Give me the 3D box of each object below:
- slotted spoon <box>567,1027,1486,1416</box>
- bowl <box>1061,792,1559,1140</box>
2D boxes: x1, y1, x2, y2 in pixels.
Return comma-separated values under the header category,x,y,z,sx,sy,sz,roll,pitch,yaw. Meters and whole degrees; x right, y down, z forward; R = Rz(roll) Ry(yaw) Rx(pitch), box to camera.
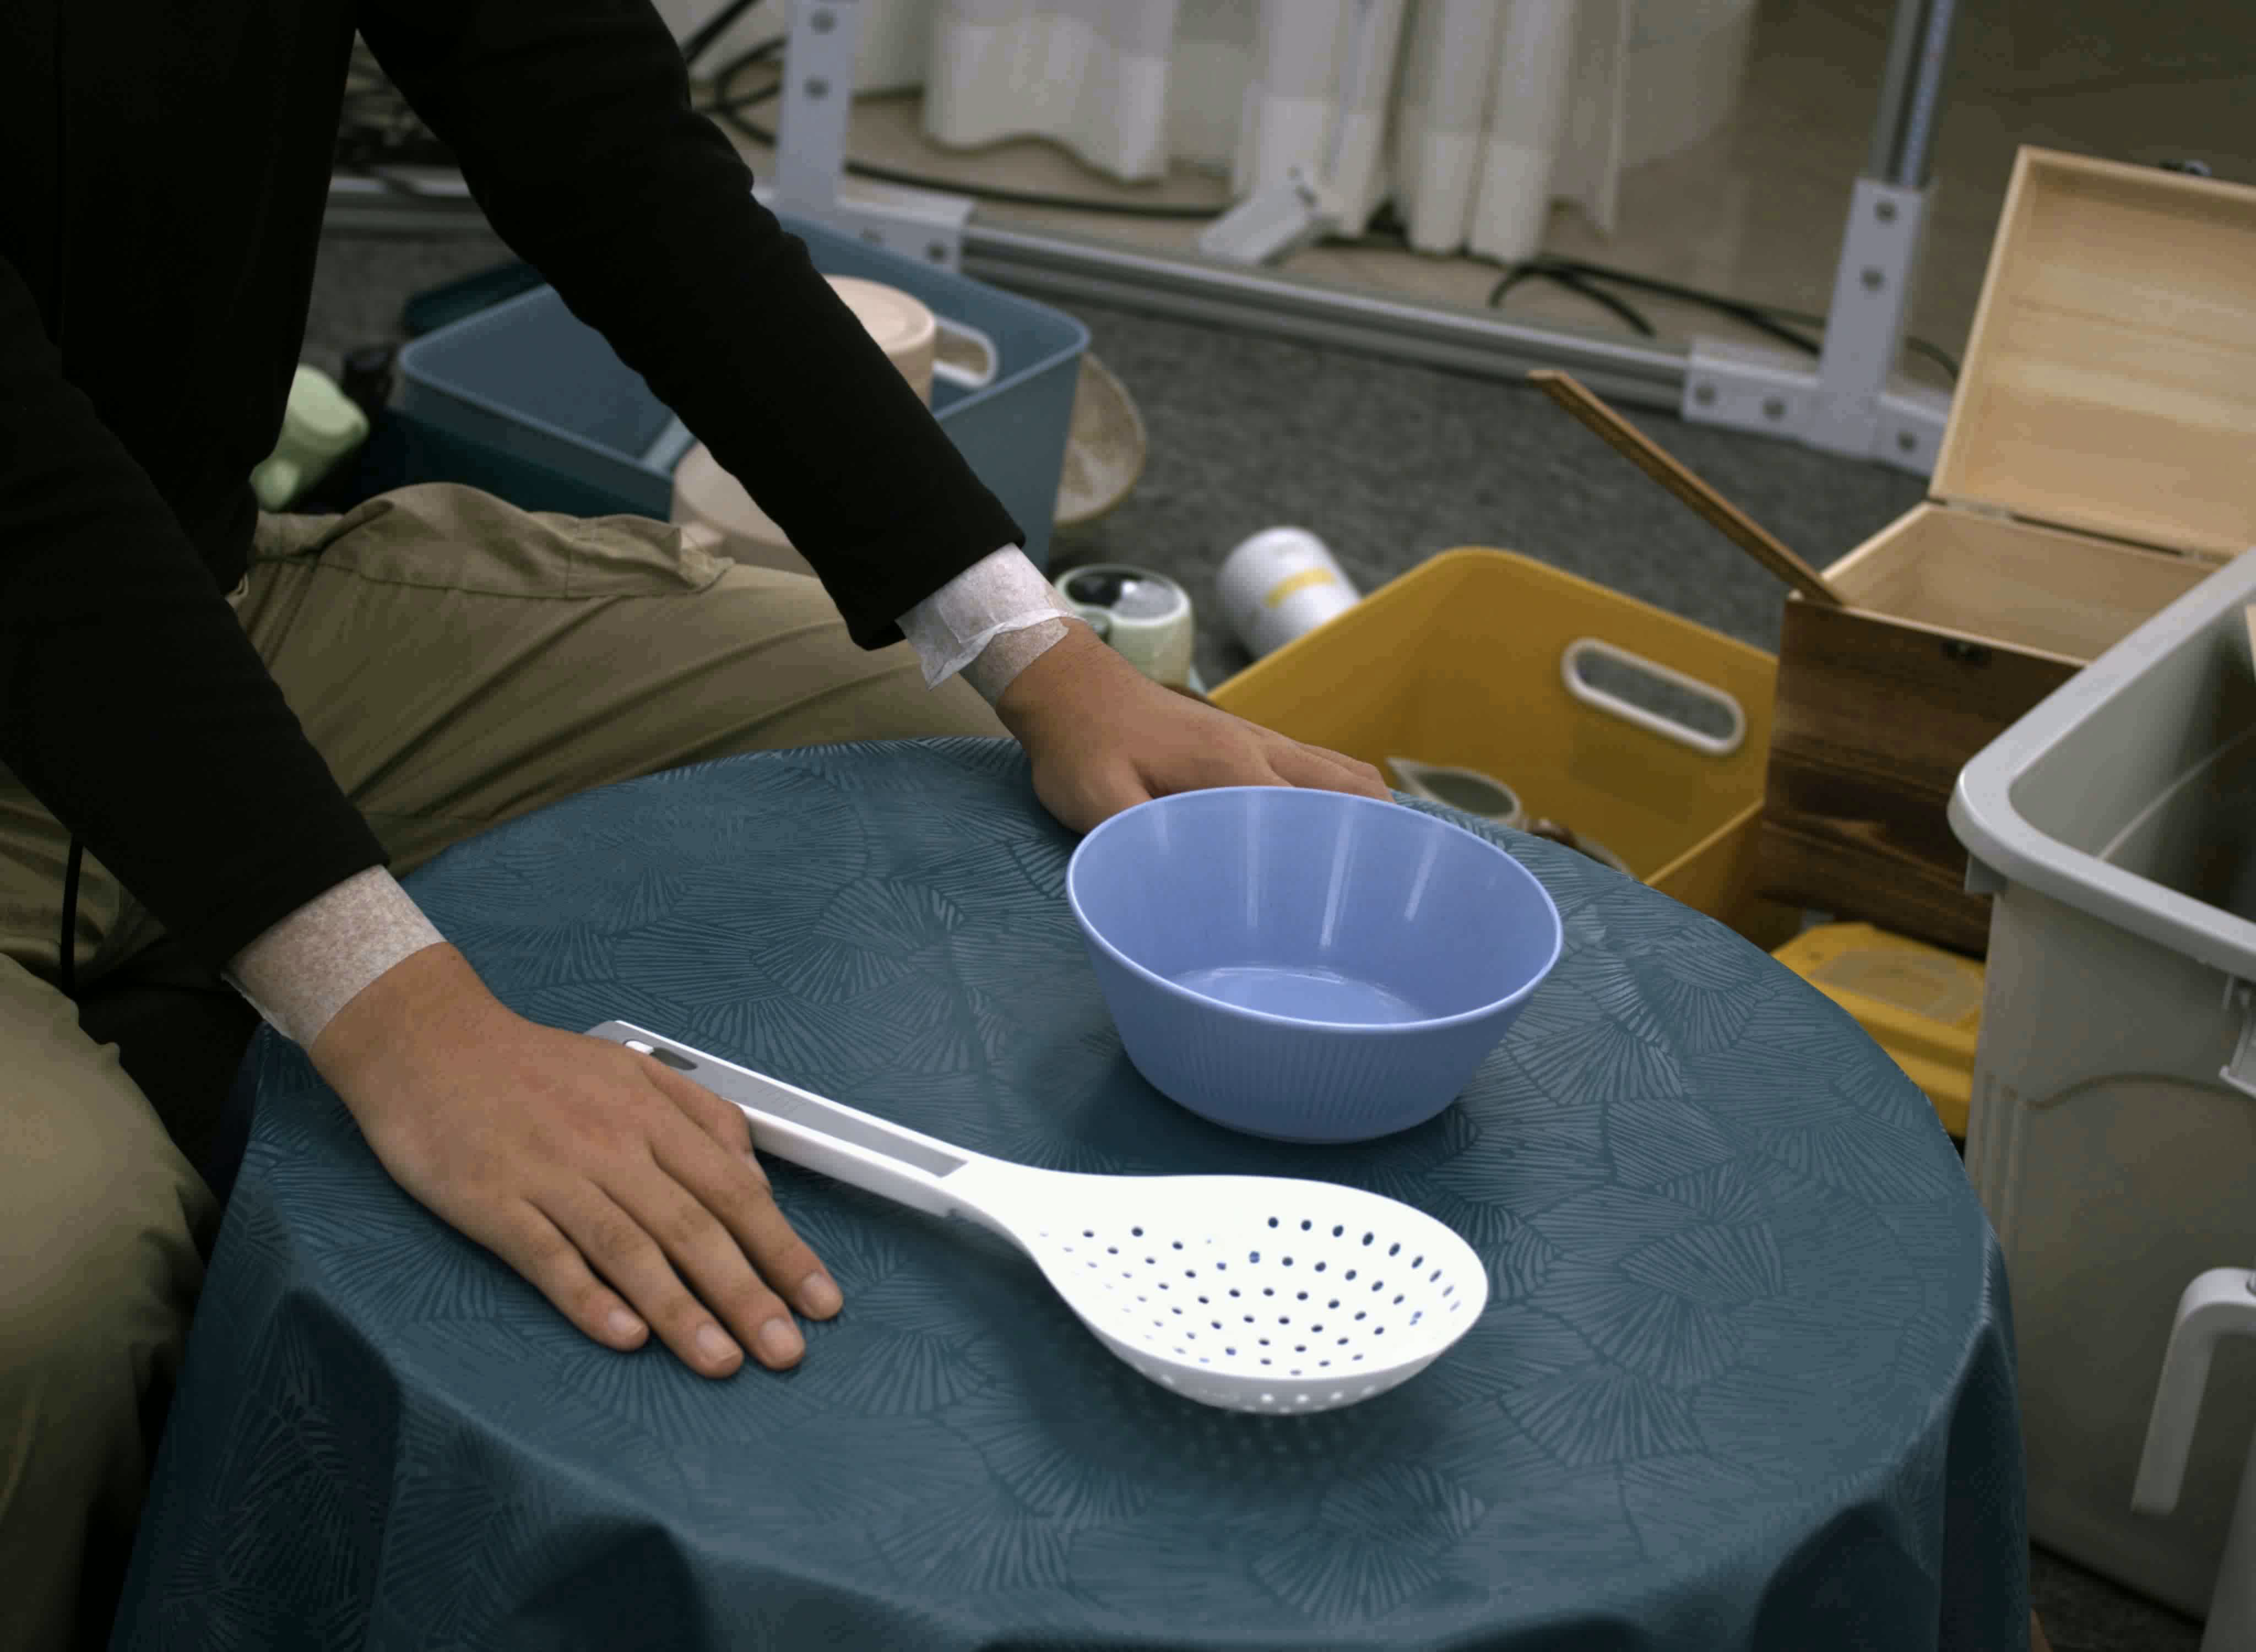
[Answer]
category,x,y,z,sx,sy,sz,roll,pitch,yaw
slotted spoon,-0.044,0.122,1.745,0.352,0.045,0.135,21,30,29
bowl,0.061,0.055,1.875,0.175,0.070,0.177,4,26,-2
